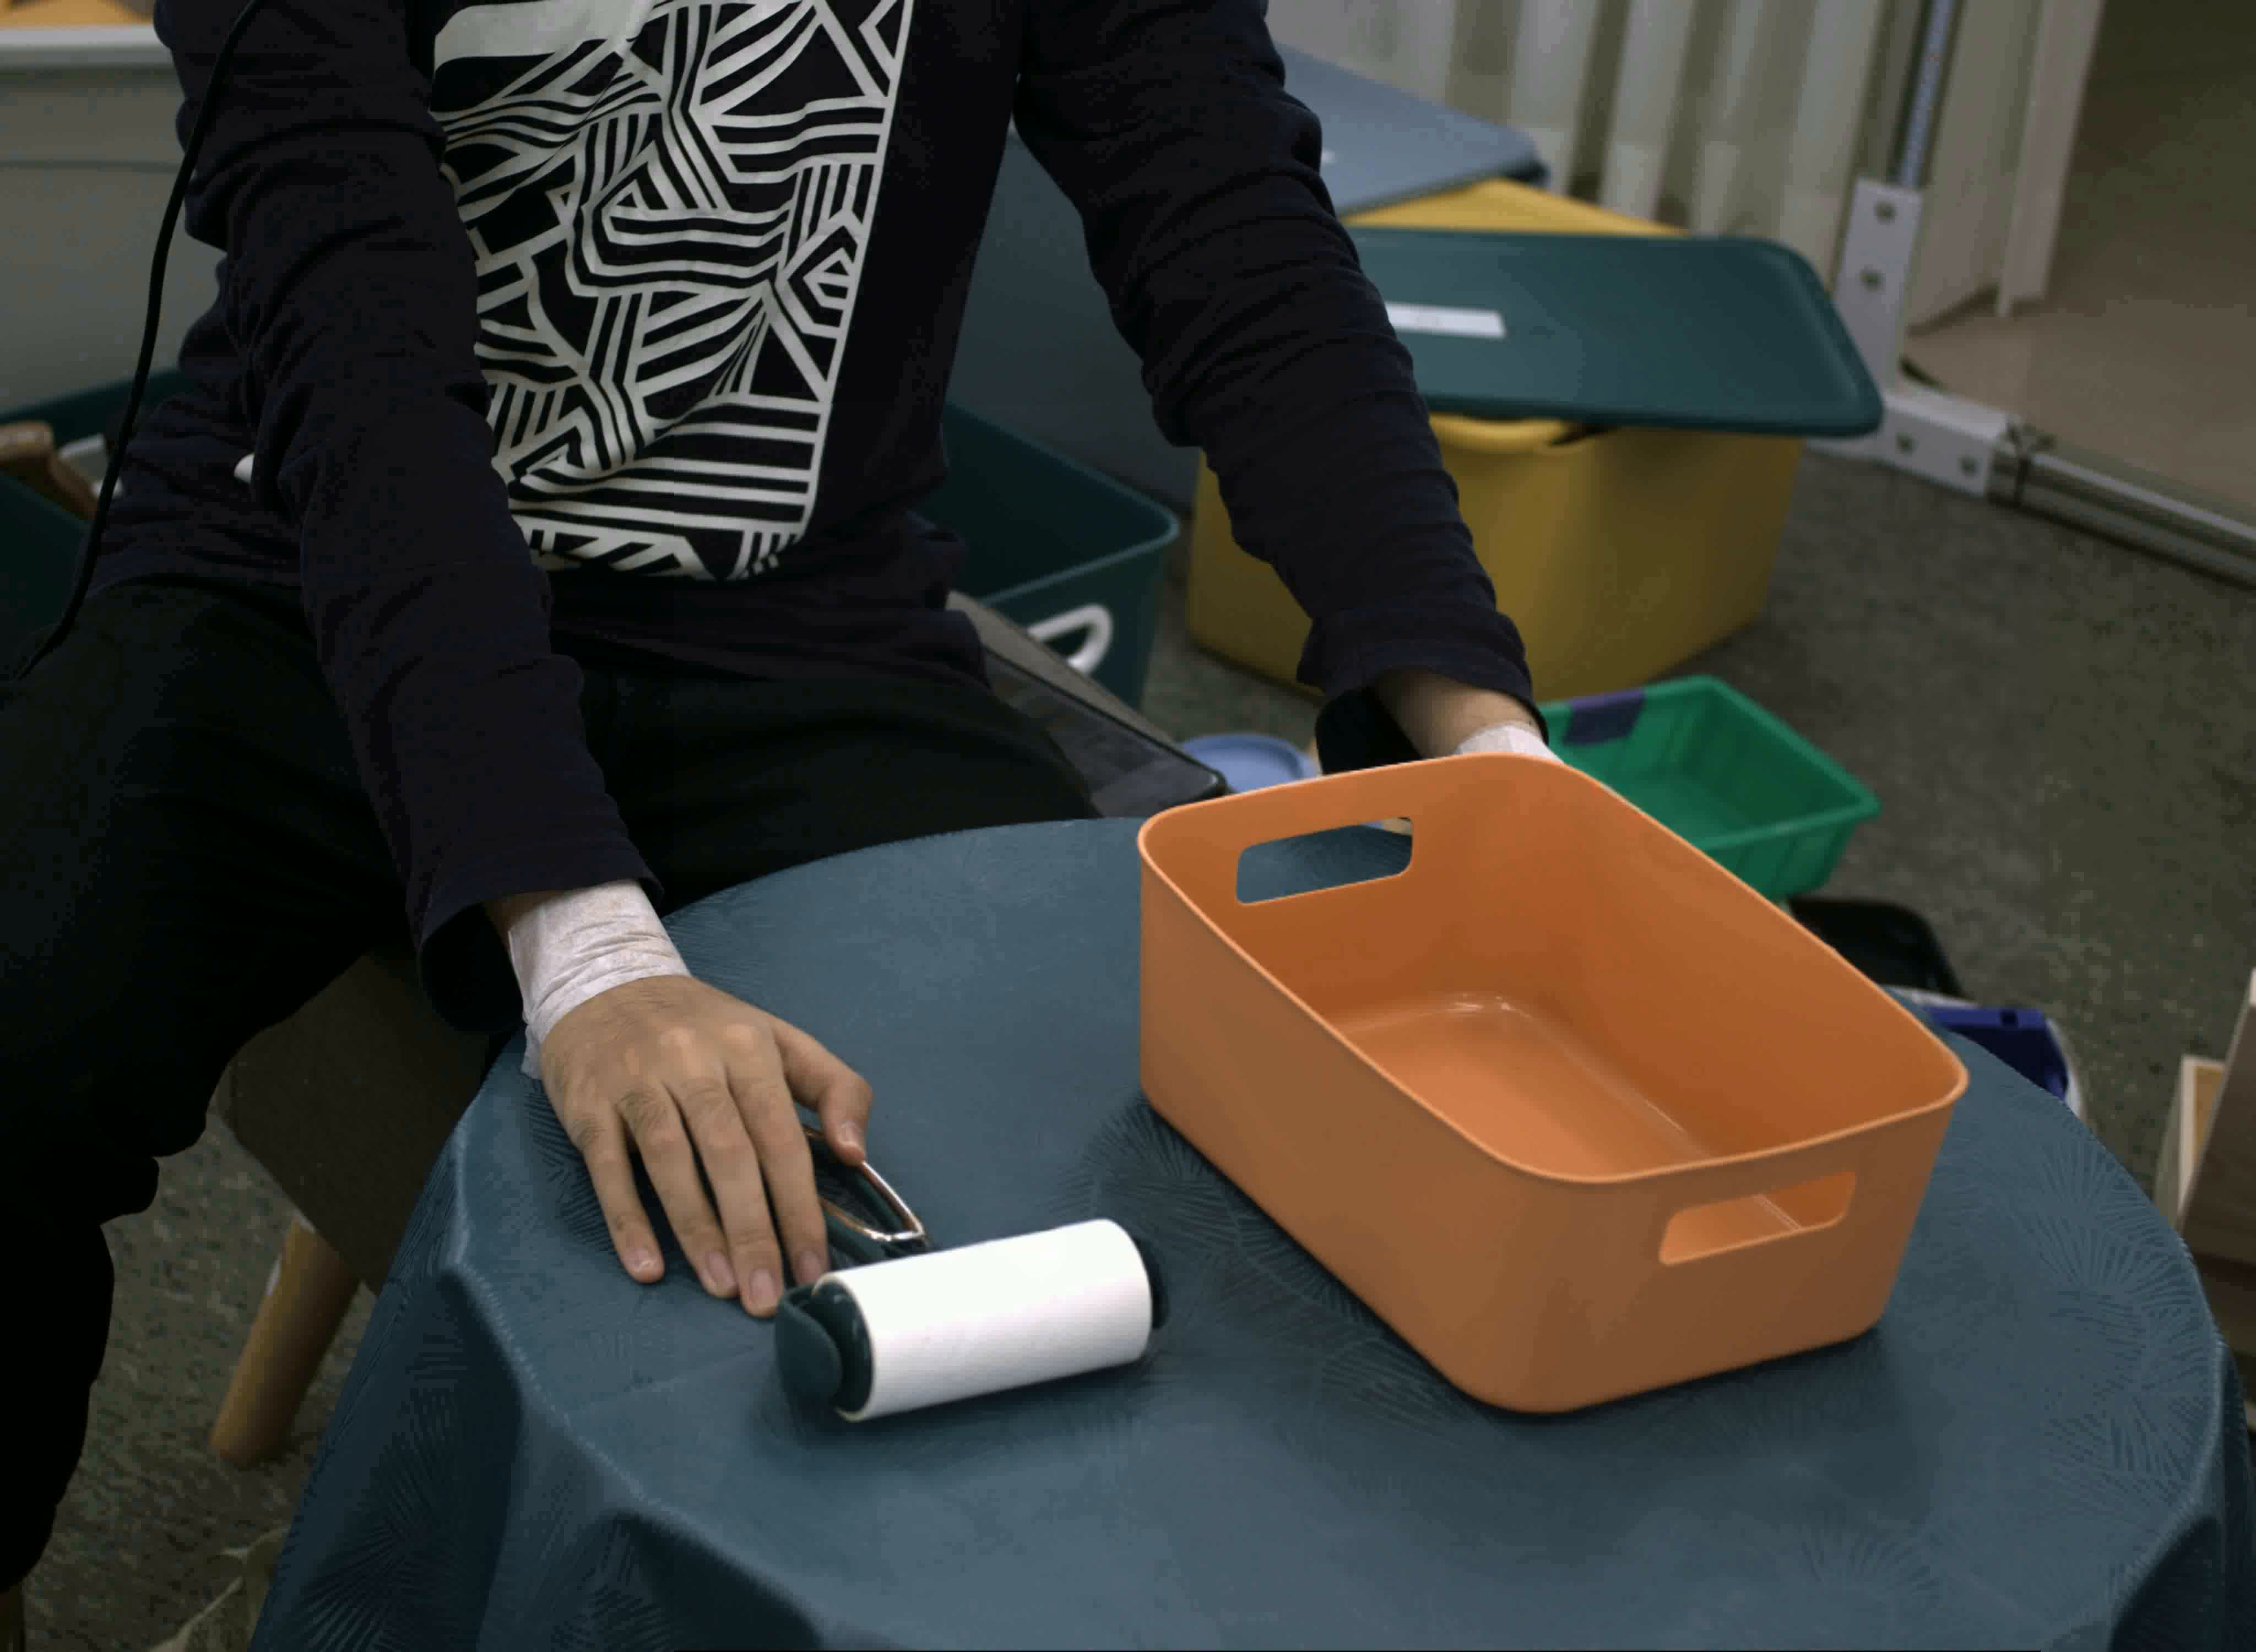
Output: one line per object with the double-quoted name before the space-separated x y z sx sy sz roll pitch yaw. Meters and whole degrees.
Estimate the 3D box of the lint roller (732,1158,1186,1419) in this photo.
"lint roller" -0.081 0.130 1.732 0.133 0.048 0.181 -10 27 -28

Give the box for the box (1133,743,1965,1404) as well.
"box" 0.132 0.083 1.799 0.198 0.102 0.275 -10 31 -30
